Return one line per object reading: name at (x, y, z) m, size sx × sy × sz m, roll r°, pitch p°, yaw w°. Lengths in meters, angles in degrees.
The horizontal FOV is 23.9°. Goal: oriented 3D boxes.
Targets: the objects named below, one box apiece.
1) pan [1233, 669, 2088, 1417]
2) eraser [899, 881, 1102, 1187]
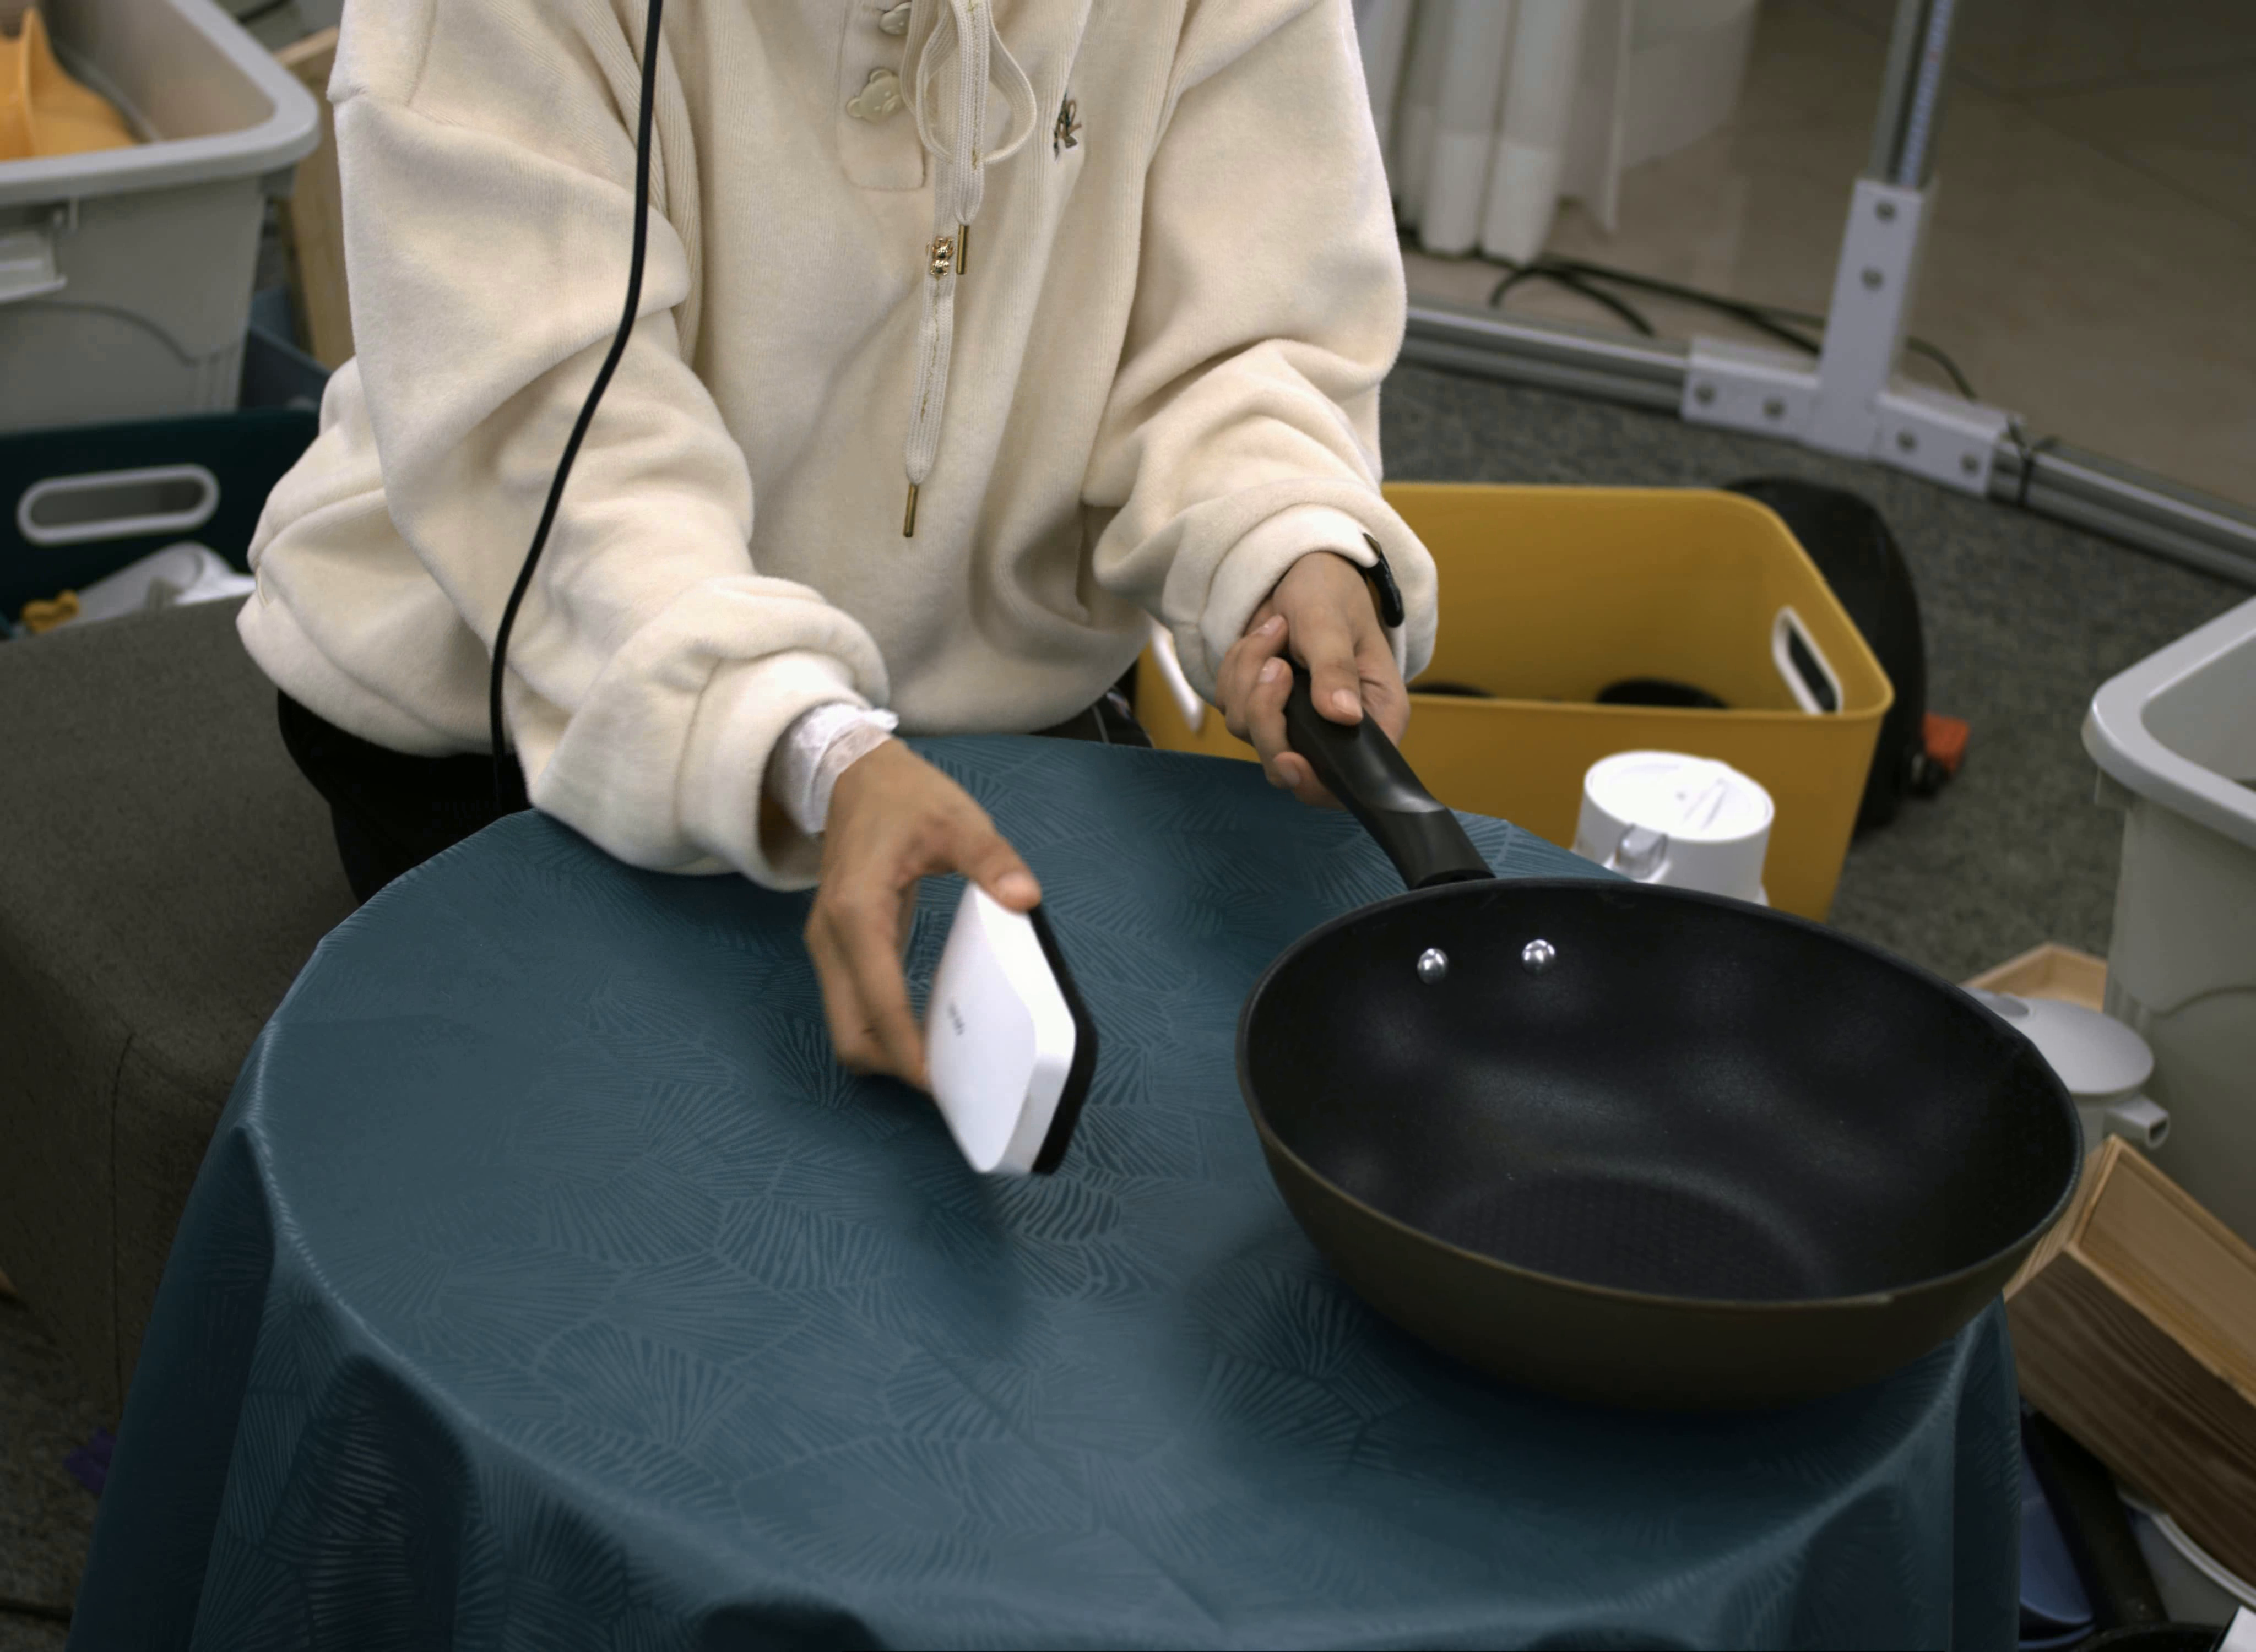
pan at (0.137, 0.076, 1.835) m, size 0.286 × 0.086 × 0.467 m, roll -4°, pitch 28°, yaw -22°
eraser at (-0.045, 0.068, 1.785) m, size 0.034 × 0.063 × 0.132 m, roll 18°, pitch 19°, yaw -22°
